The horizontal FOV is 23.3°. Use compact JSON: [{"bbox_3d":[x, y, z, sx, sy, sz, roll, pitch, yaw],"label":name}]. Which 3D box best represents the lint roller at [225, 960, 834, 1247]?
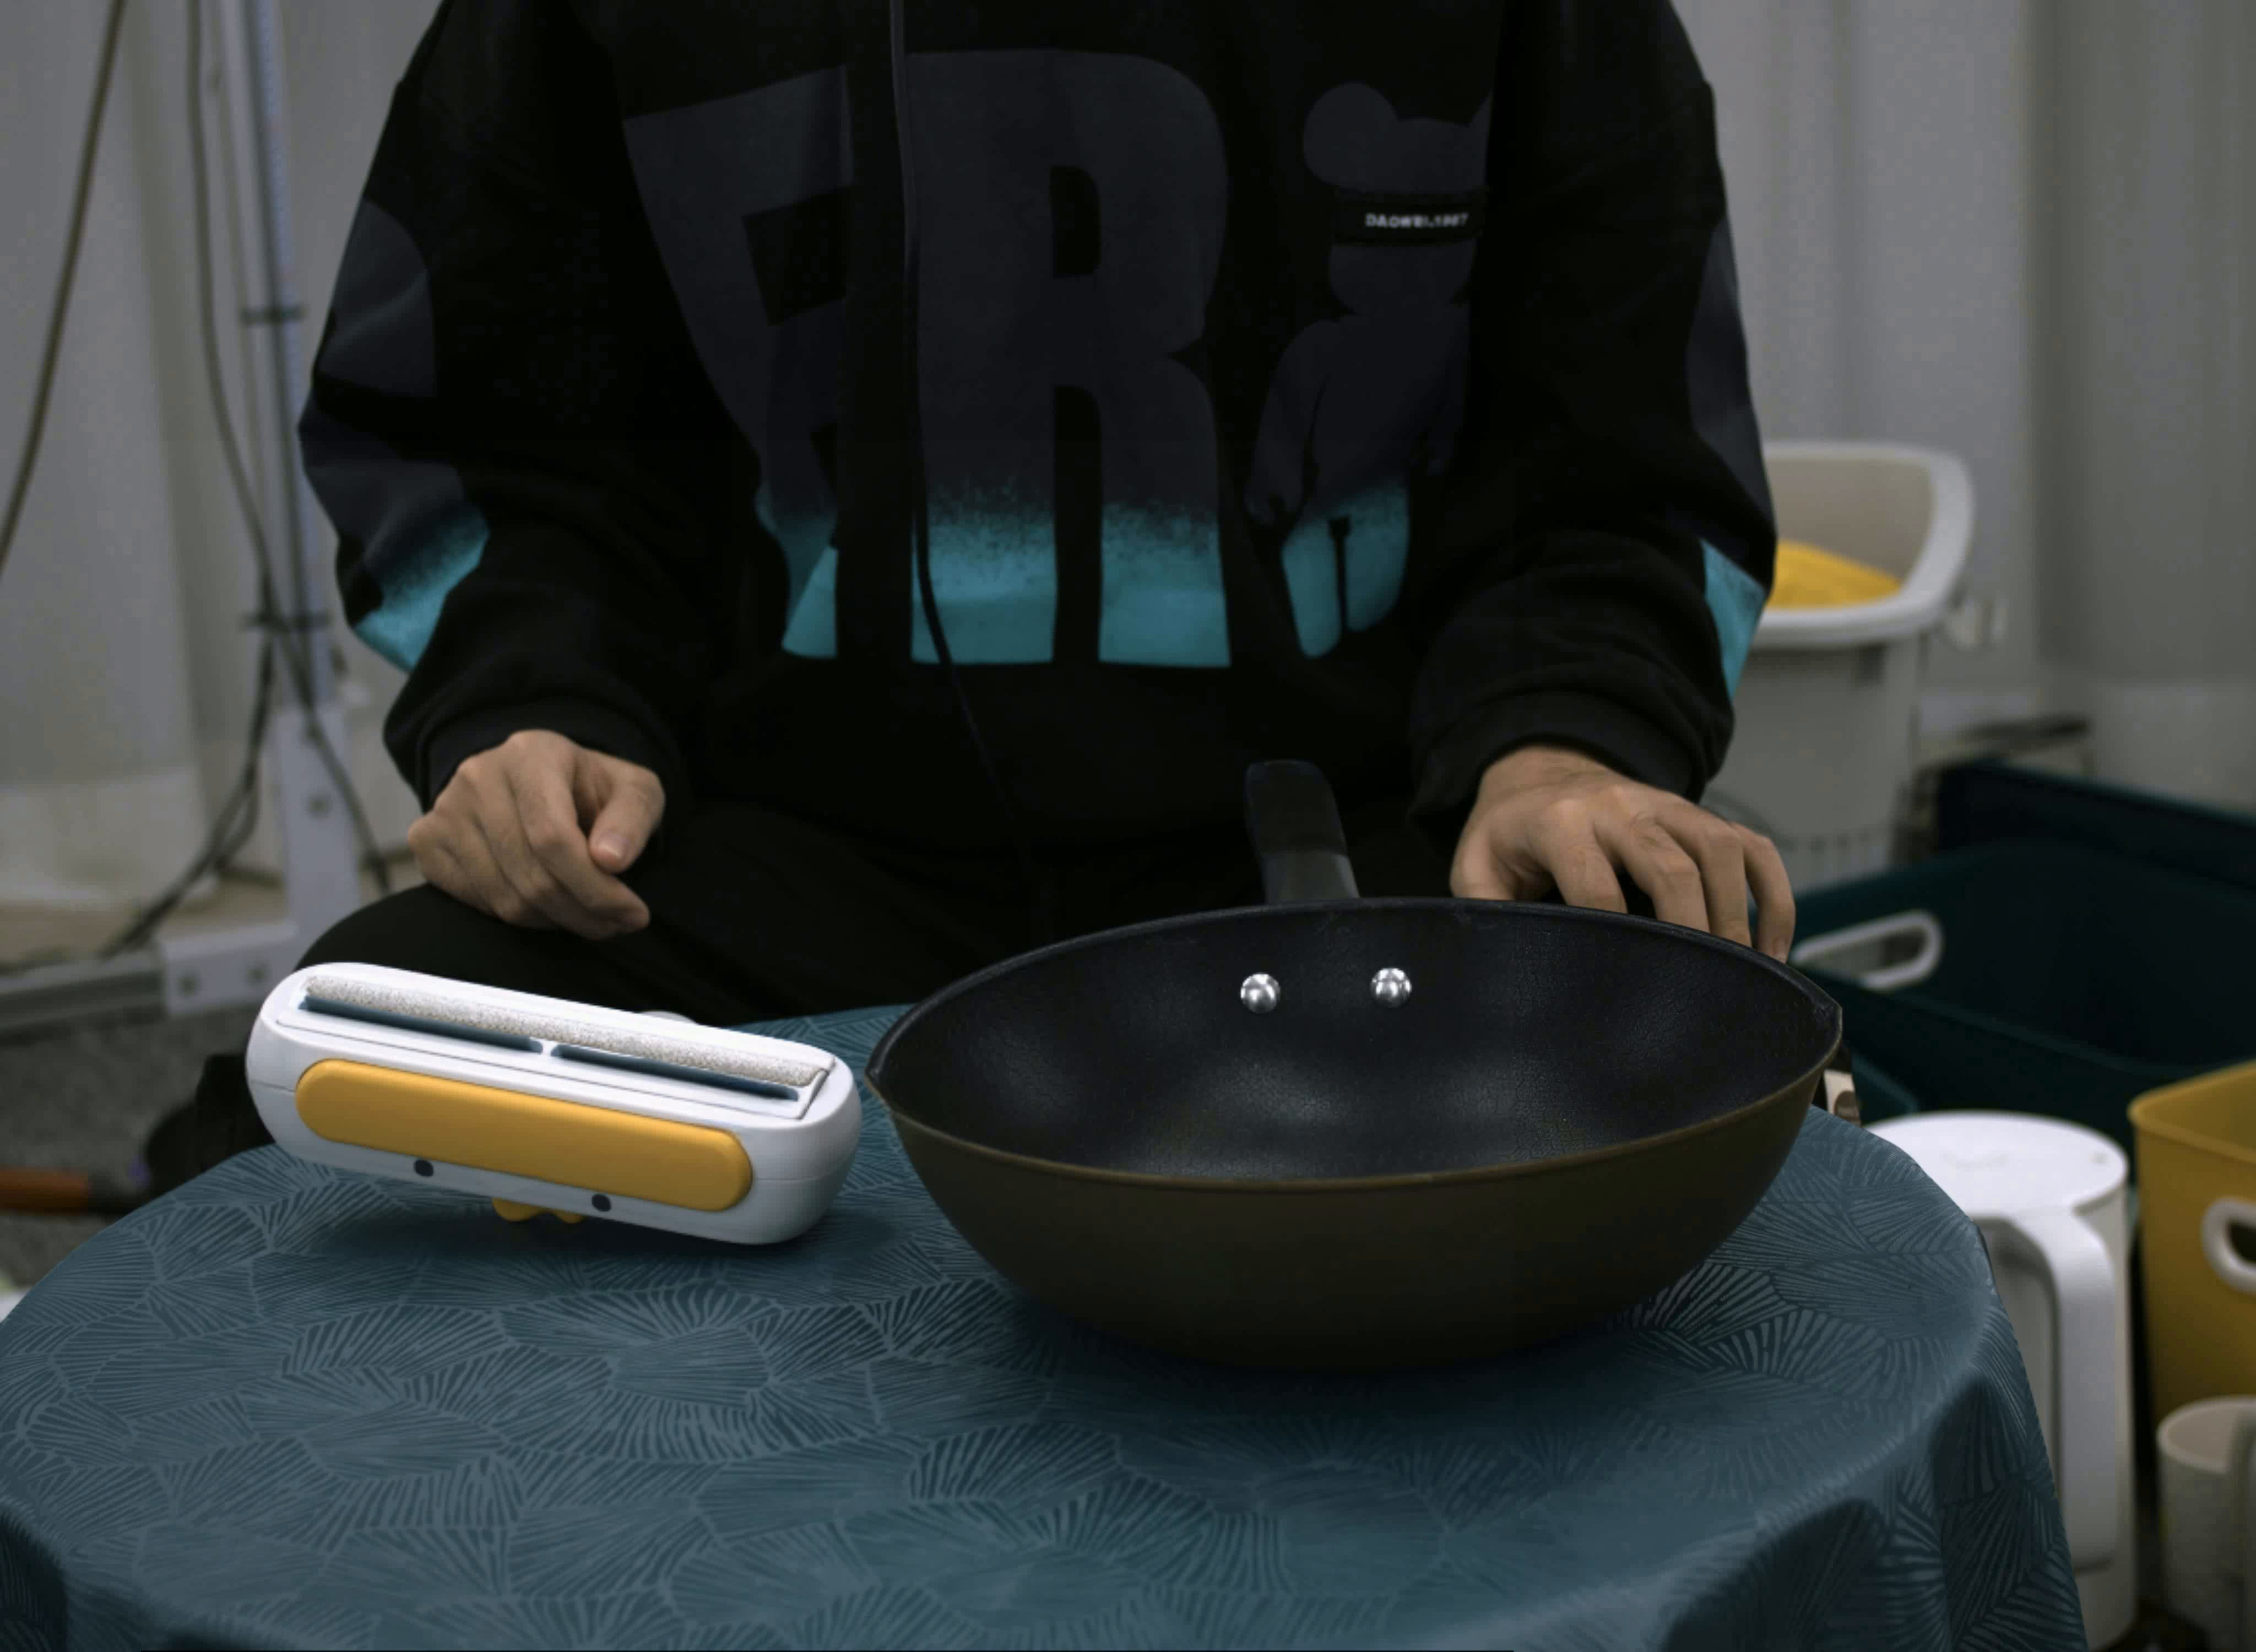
[{"bbox_3d":[-0.171,0.078,1.756,0.193,0.074,0.193,6,15,14],"label":"lint roller"}]

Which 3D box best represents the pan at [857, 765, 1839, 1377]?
[{"bbox_3d":[0.063,0.074,1.693,0.287,0.086,0.466,-4,15,-1],"label":"pan"}]
